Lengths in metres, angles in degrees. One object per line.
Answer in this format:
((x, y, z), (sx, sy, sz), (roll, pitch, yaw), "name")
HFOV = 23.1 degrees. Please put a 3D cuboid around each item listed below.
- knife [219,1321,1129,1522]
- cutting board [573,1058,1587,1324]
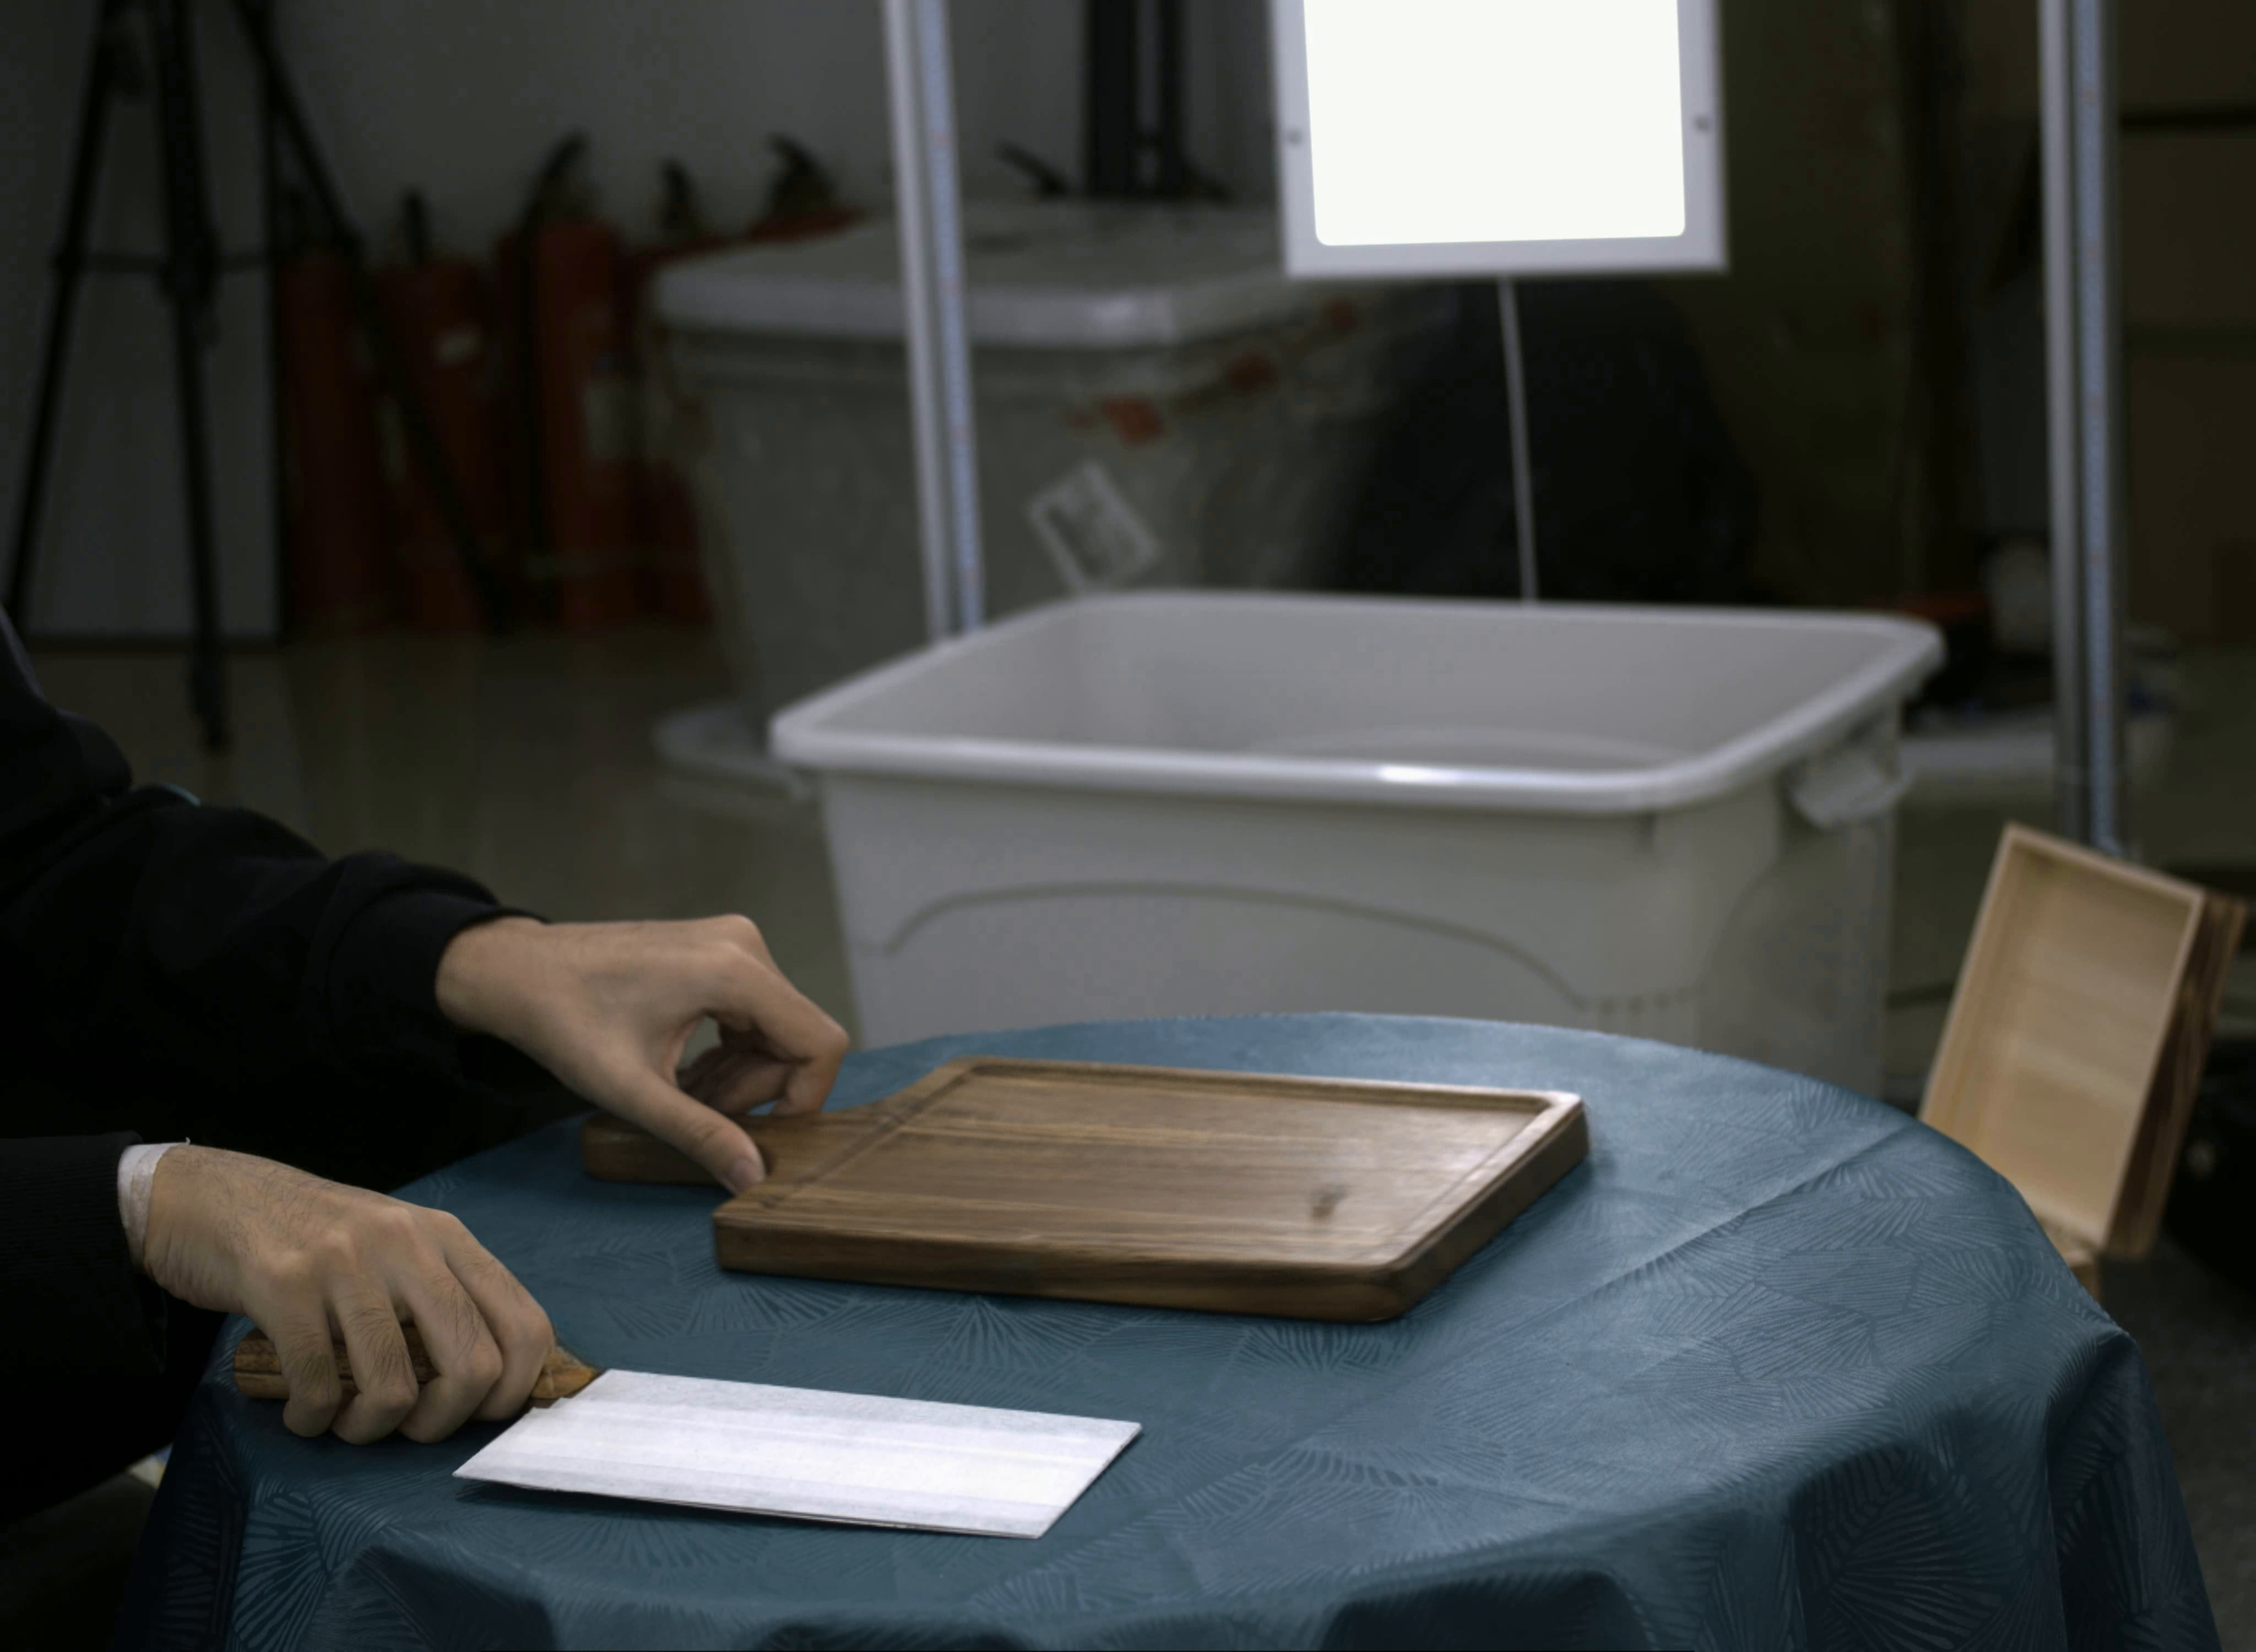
((-0.152, 0.184, 1.686), (0.310, 0.021, 0.091), (3, 18, 22), "knife")
((-0.036, 0.119, 1.897), (0.358, 0.023, 0.197), (2, 15, 28), "cutting board")
